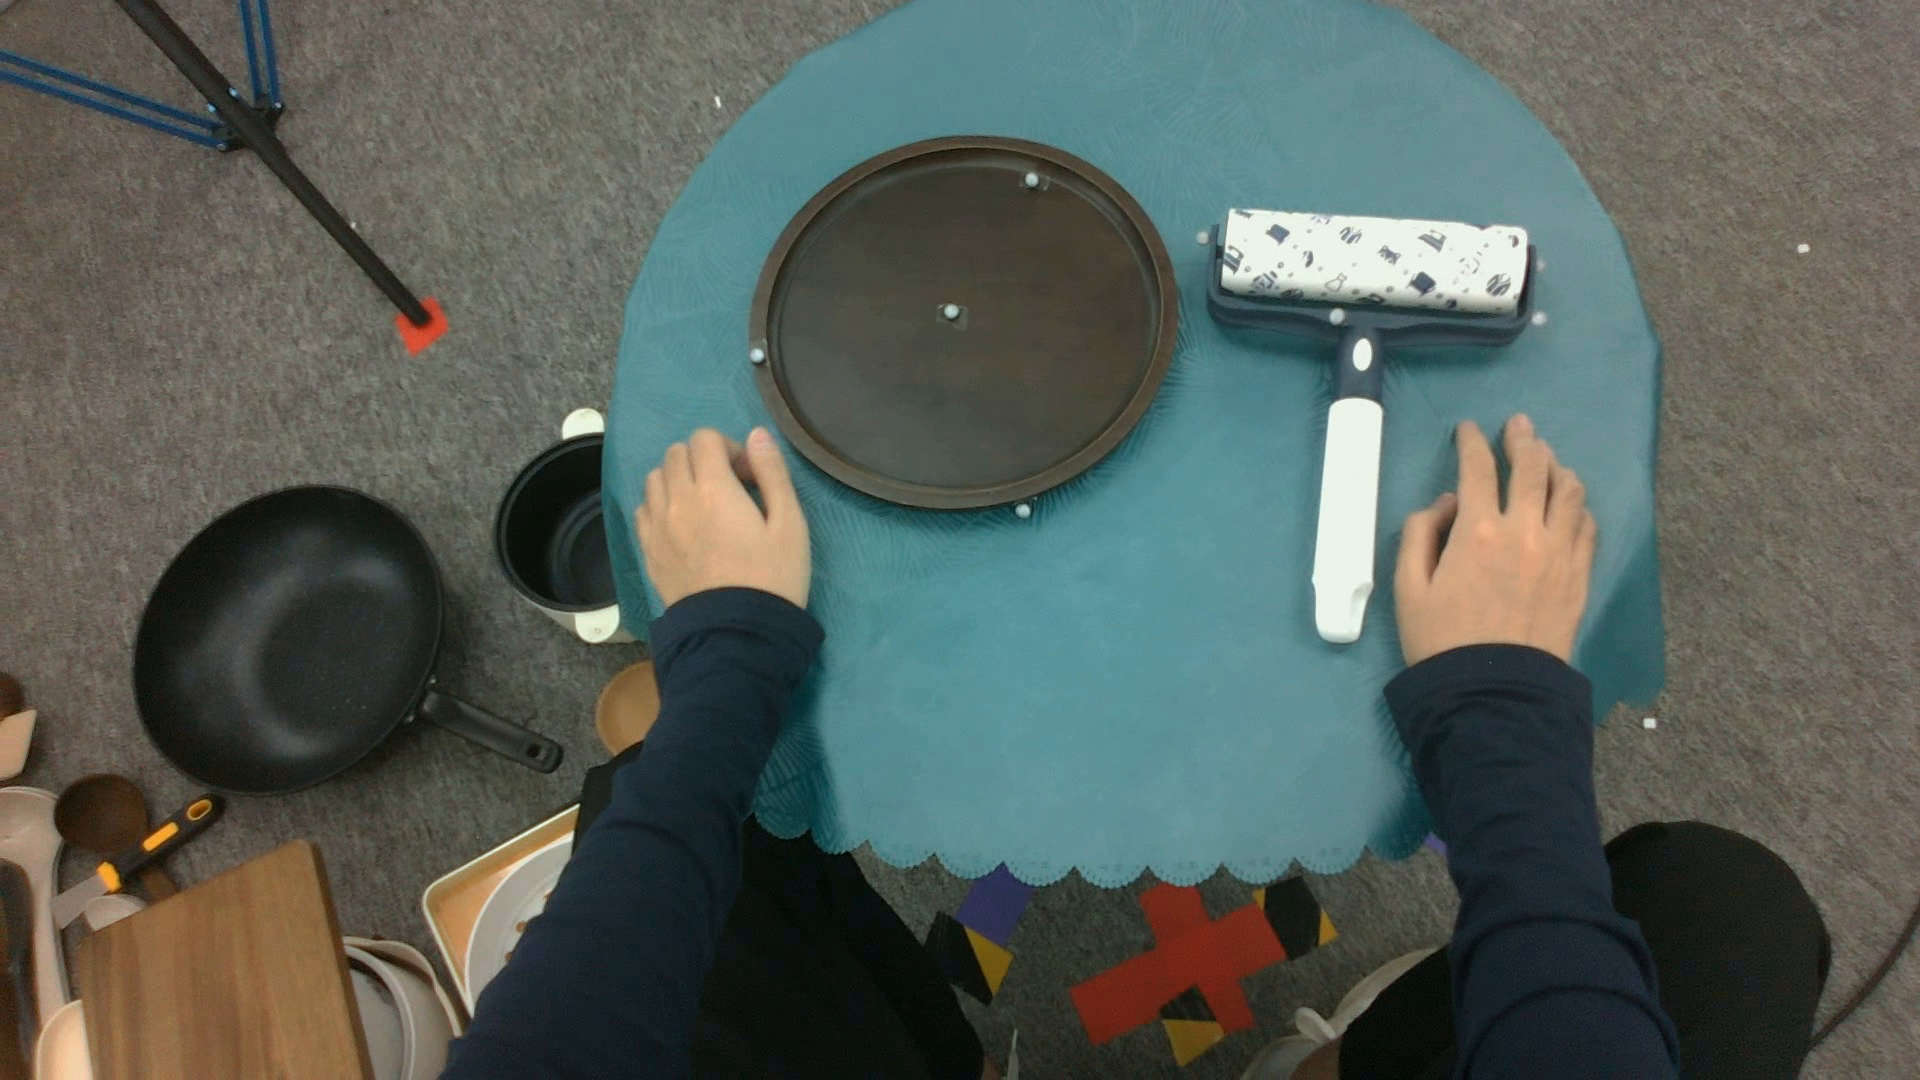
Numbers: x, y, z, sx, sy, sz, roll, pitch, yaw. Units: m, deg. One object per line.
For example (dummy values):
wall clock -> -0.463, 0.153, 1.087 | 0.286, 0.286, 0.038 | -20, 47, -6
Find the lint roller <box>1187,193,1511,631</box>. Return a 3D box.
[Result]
lint roller -> 0.205, -0.073, 0.748 | 0.176, 0.050, 0.248 | 6, 71, 7

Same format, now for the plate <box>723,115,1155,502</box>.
plate -> -0.013, -0.138, 0.808 | 0.254, 0.029, 0.255 | -2, 70, 5
